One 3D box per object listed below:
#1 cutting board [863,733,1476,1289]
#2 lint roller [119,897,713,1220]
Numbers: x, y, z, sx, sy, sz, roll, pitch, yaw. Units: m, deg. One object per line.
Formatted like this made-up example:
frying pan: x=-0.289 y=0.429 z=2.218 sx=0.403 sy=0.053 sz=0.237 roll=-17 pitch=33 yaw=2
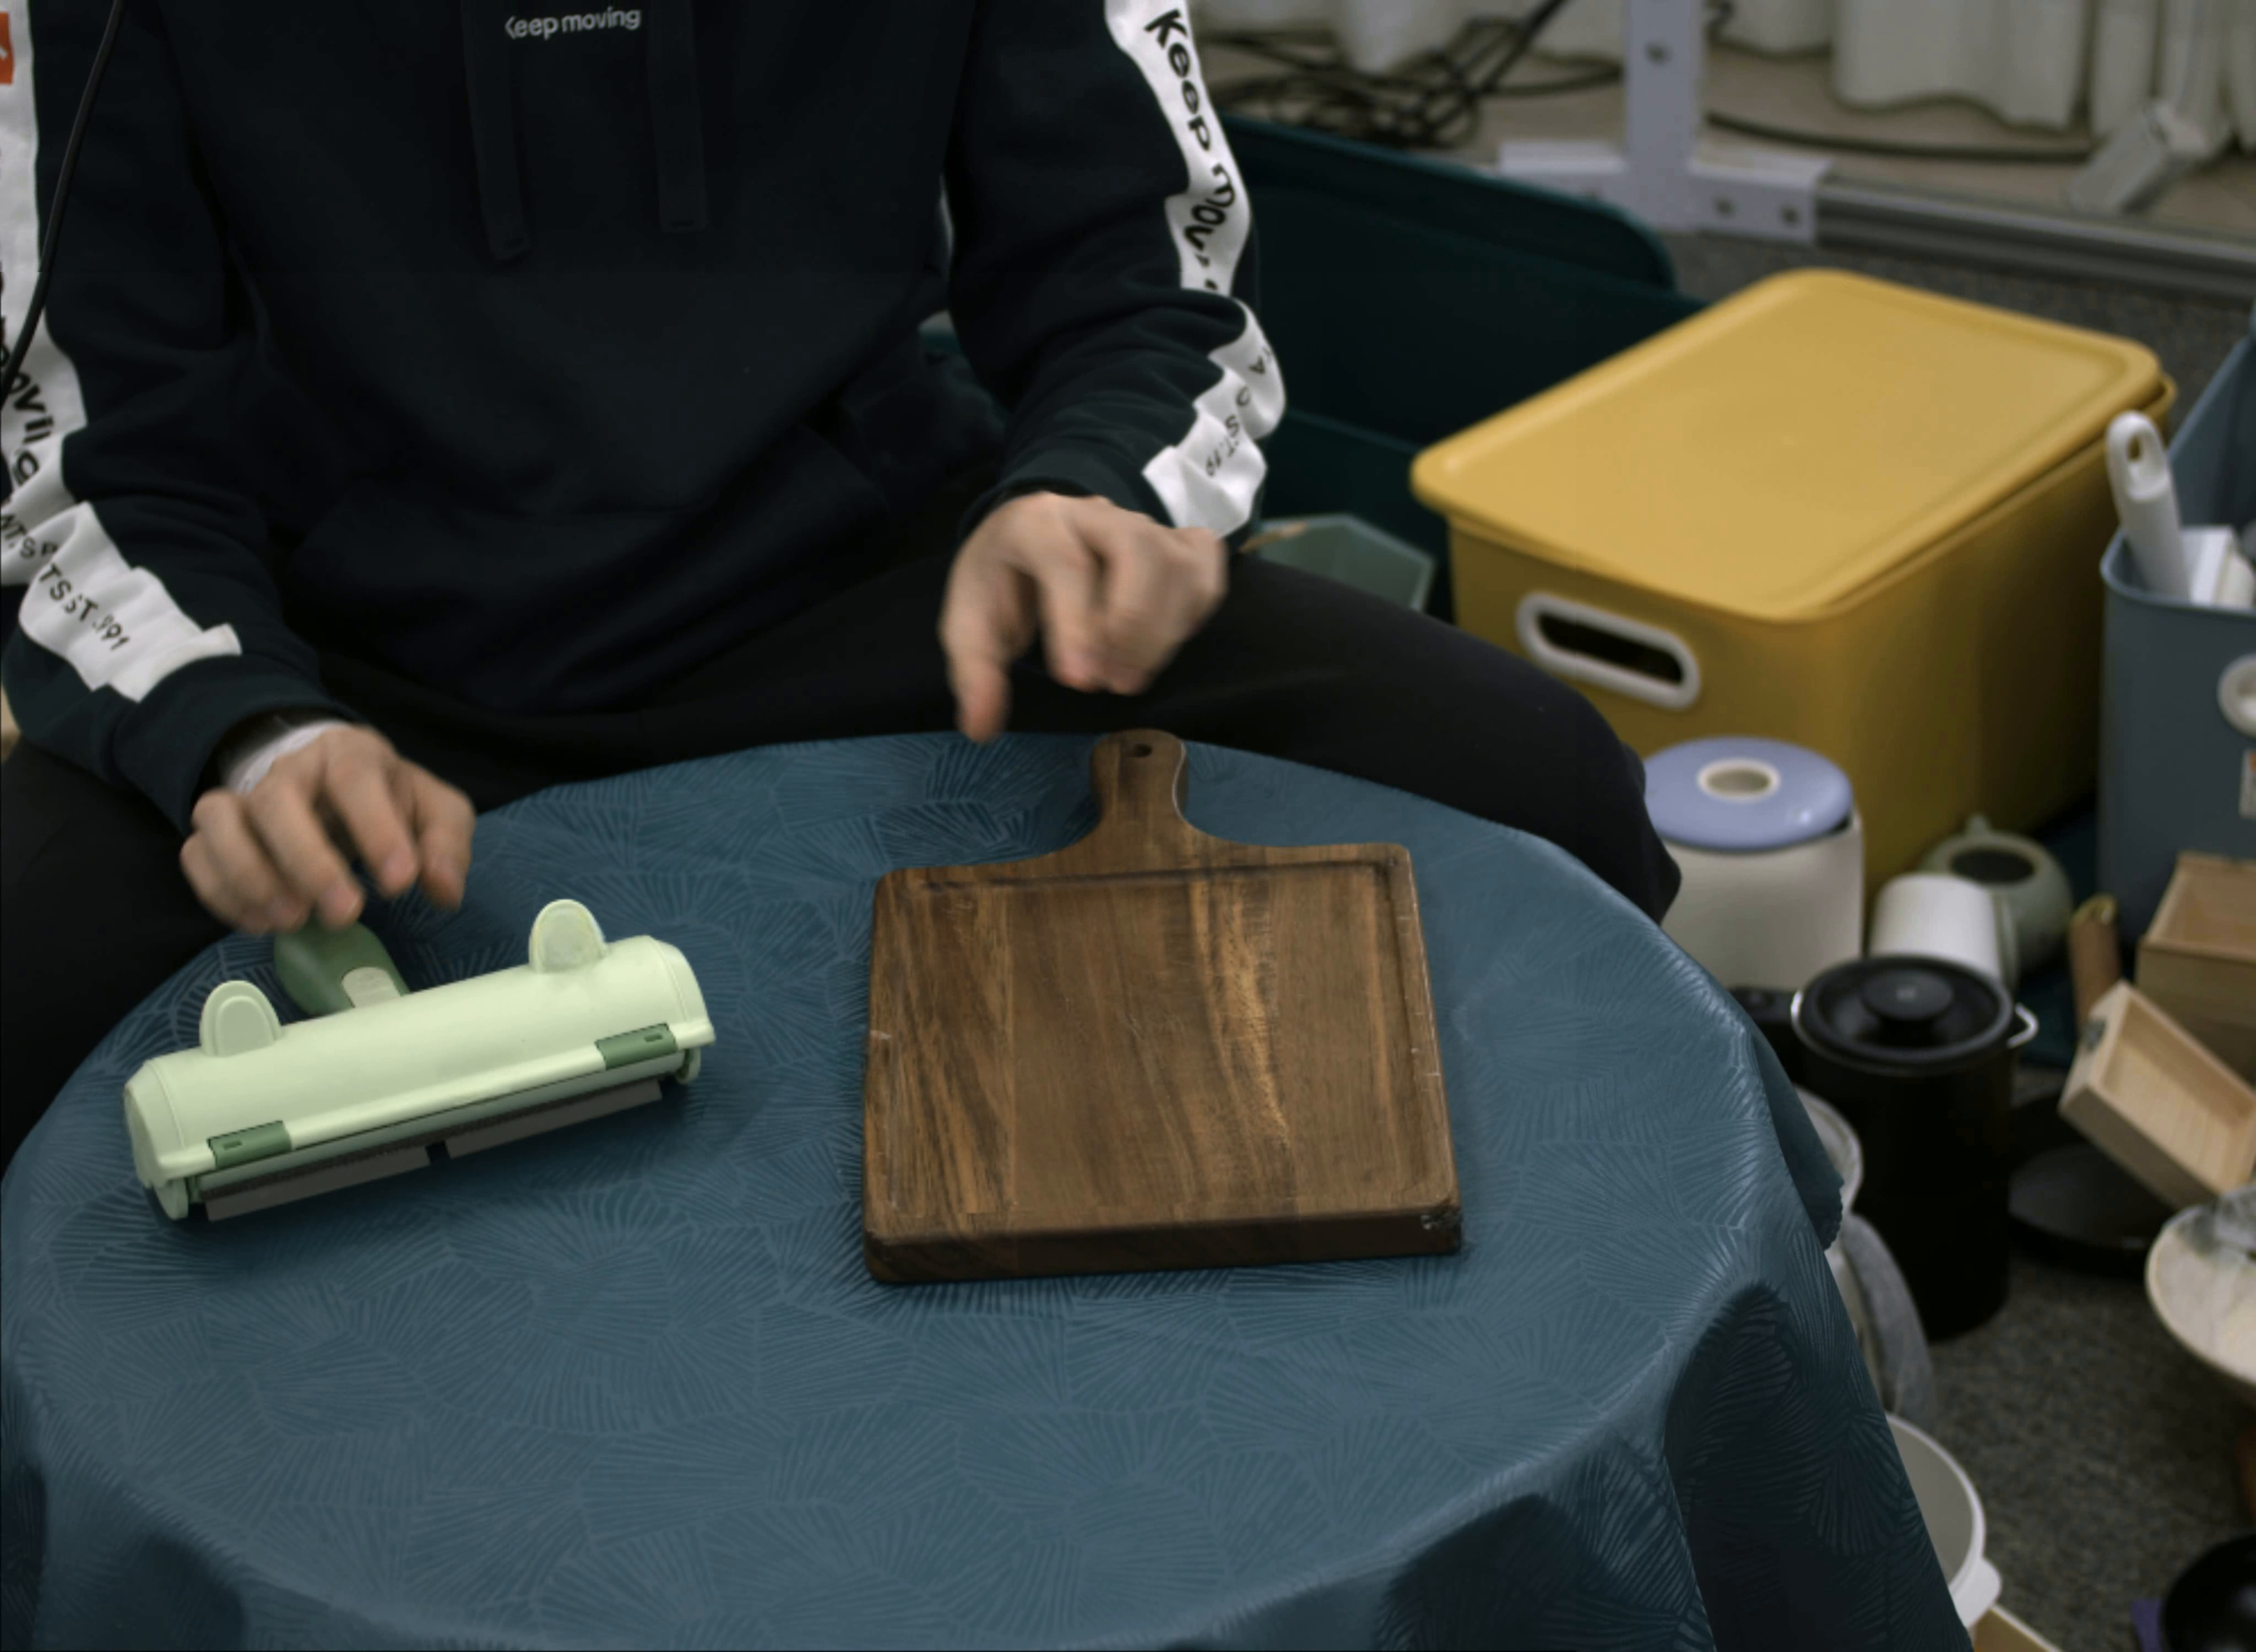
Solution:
cutting board: x=0.007 y=0.055 z=1.965 sx=0.200 sy=0.023 sz=0.357 roll=-3 pitch=27 yaw=-1
lint roller: x=-0.262 y=0.053 z=1.936 sx=0.199 sy=0.081 sz=0.185 roll=-14 pitch=34 yaw=-20
